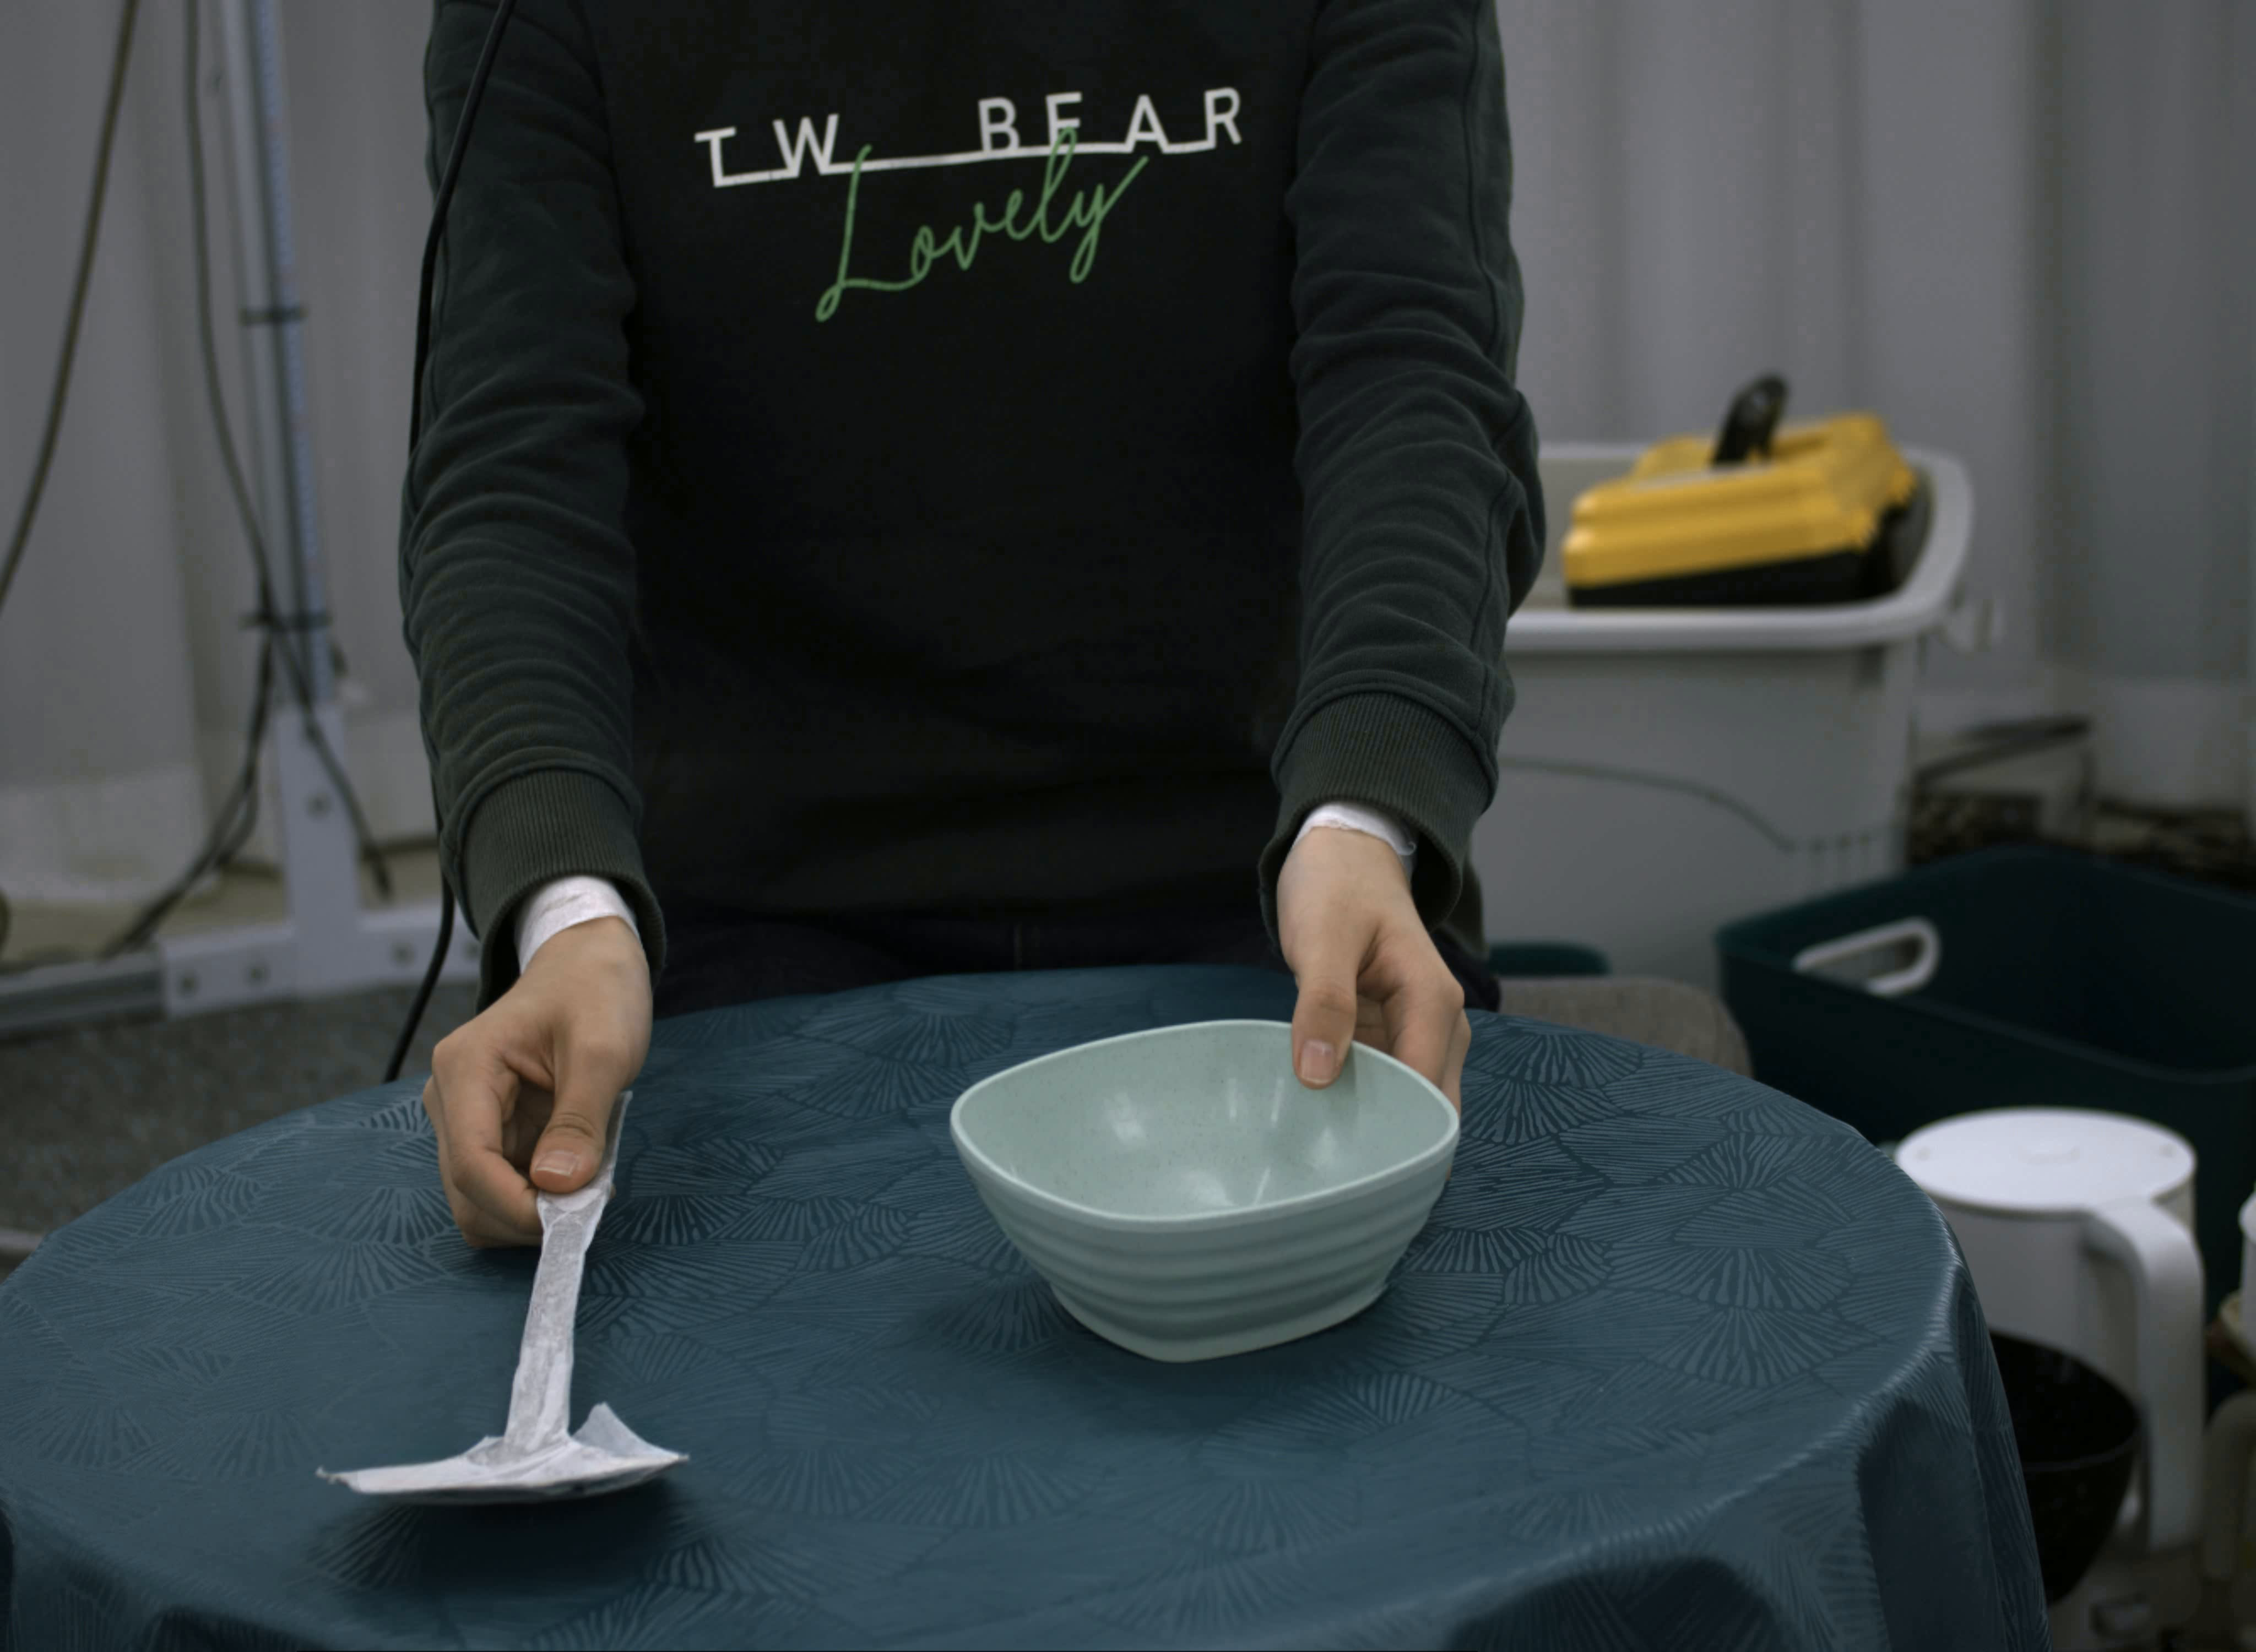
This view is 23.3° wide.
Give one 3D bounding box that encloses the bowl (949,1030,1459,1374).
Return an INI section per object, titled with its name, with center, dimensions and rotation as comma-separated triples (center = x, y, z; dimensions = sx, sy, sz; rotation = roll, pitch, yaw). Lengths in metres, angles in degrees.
[bowl]
center = 0.022, 0.114, 1.602
dimensions = 0.151, 0.058, 0.153
rotation = -1, 19, 0

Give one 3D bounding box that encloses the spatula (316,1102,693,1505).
[spatula]
center = -0.163, 0.130, 1.589
dimensions = 0.098, 0.044, 0.368
rotation = -4, 18, 2
